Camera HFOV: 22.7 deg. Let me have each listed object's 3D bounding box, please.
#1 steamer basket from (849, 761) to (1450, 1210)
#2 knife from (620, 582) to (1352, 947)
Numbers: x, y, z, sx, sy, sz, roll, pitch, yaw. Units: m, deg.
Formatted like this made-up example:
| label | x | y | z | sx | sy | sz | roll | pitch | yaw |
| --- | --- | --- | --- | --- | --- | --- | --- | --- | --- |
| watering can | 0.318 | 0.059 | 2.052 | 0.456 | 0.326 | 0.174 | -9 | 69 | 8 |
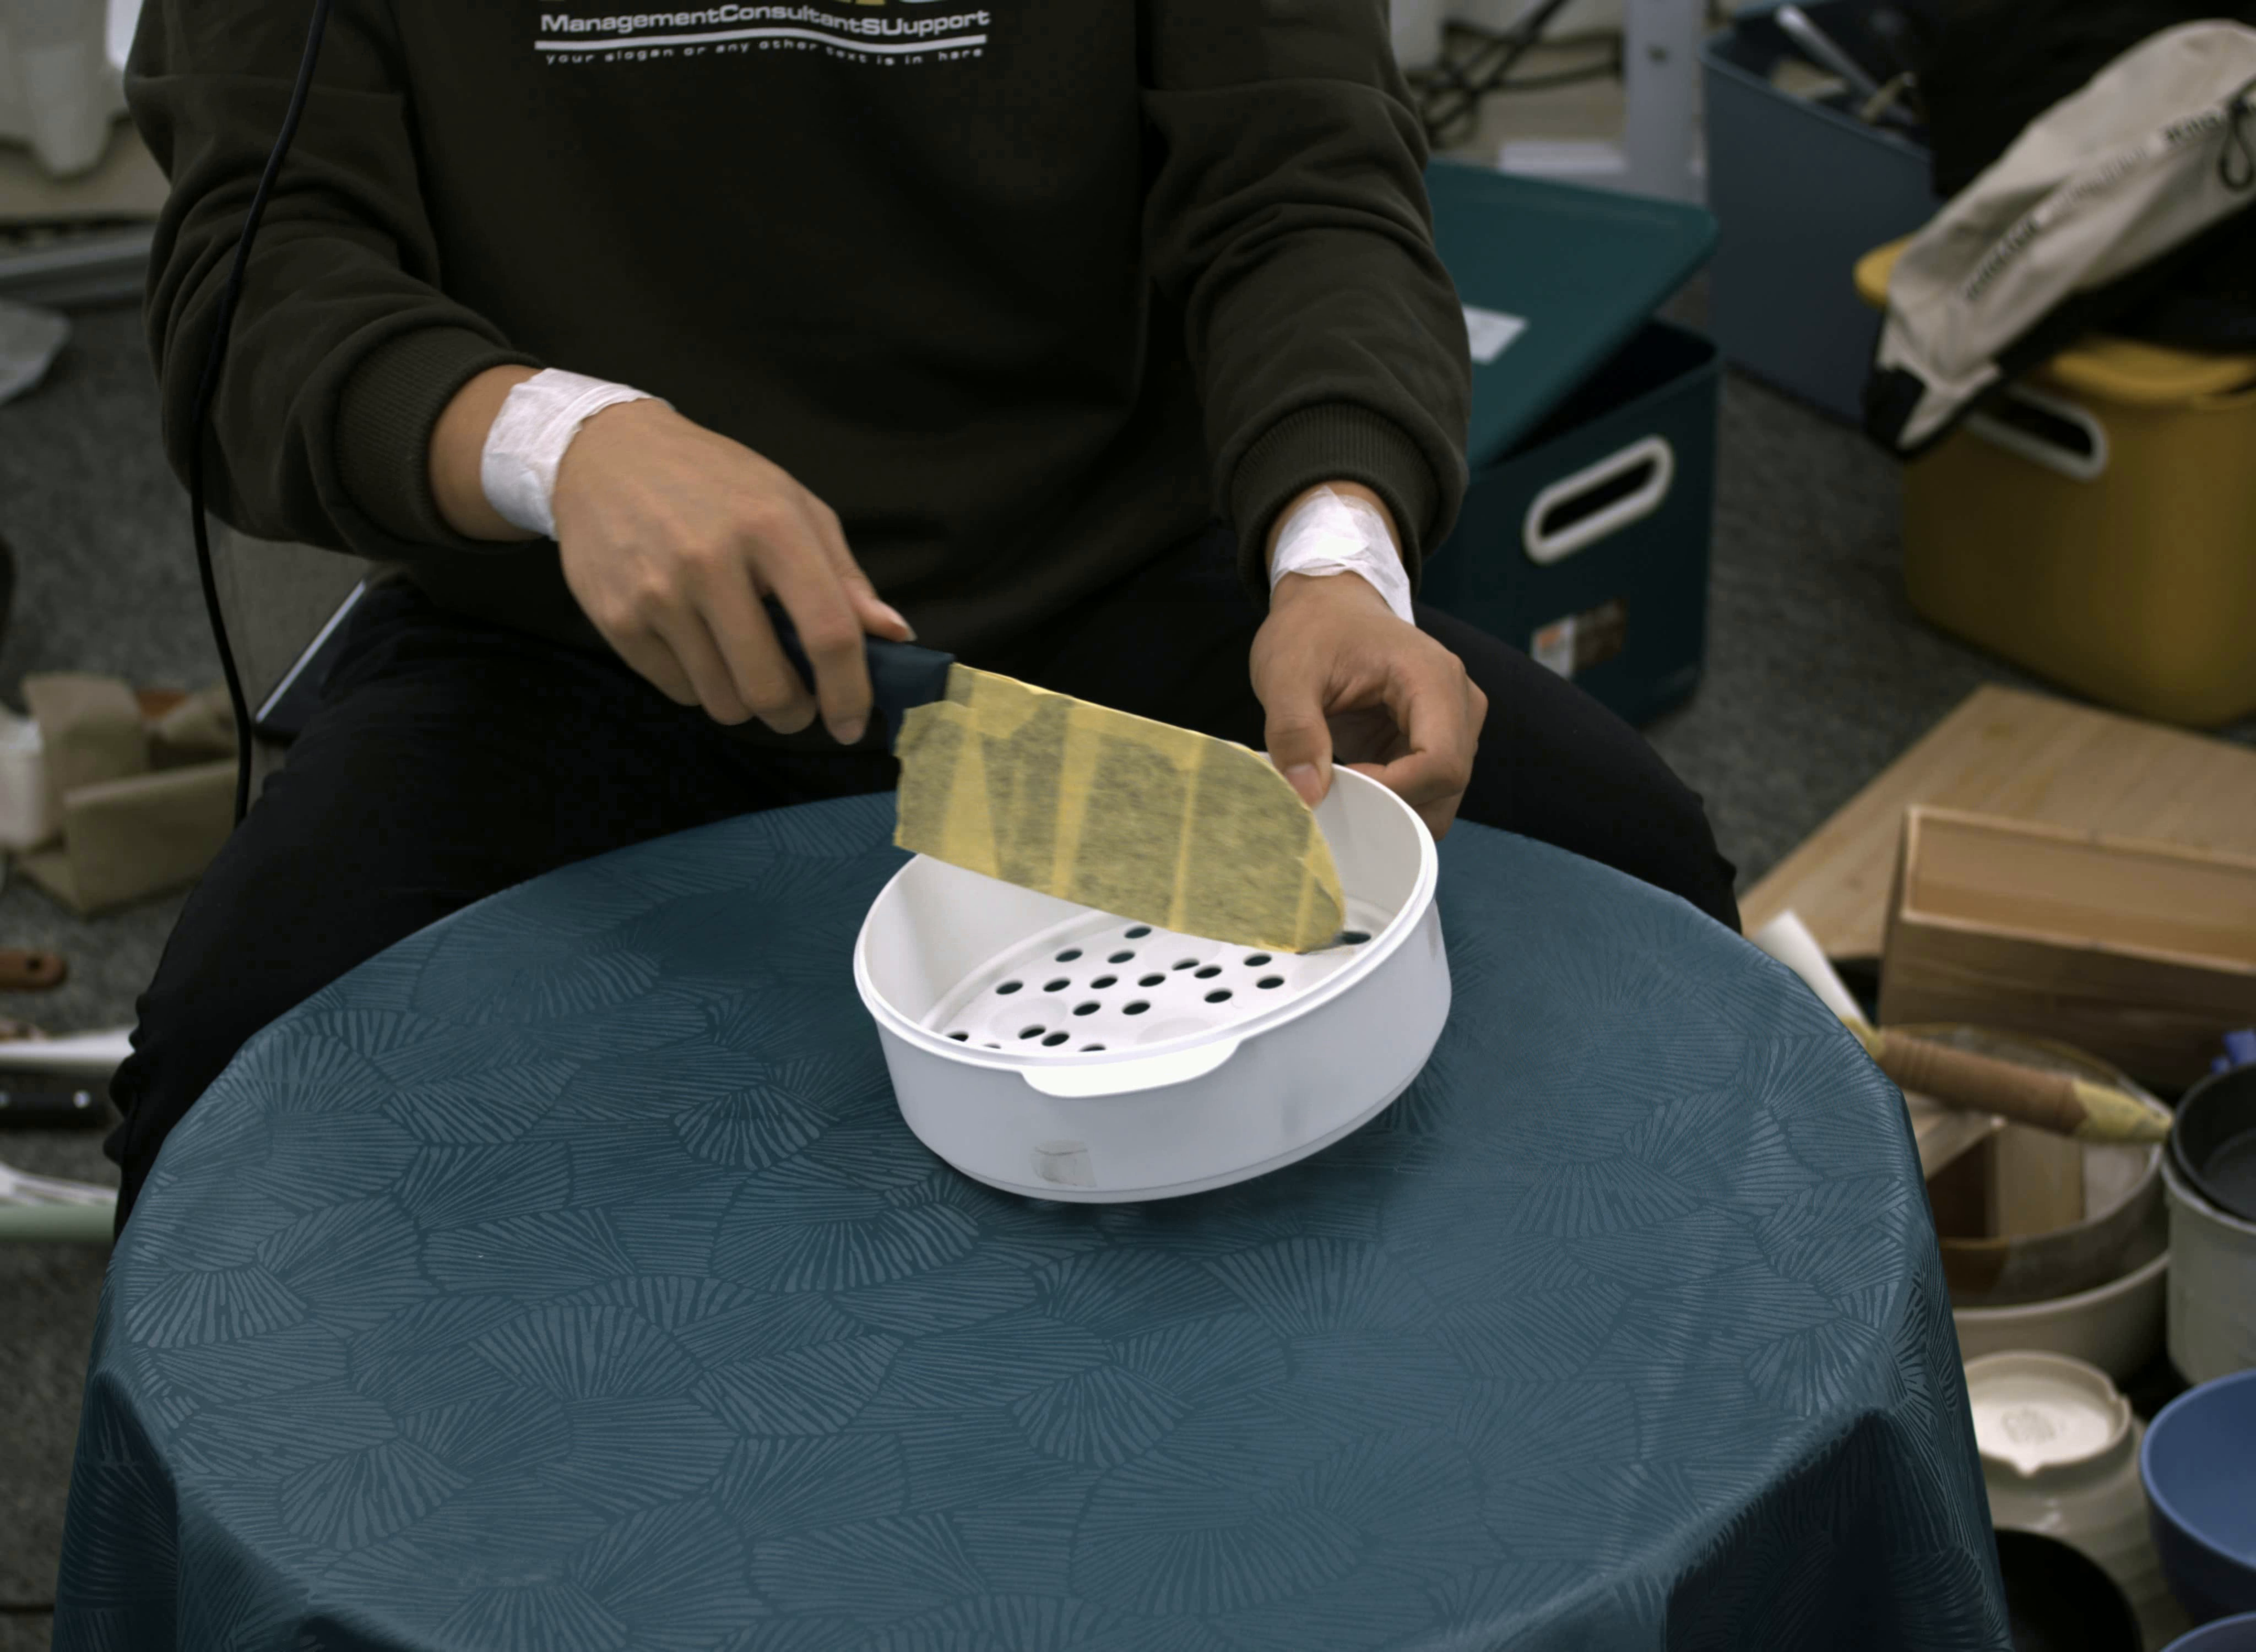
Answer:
| label | x | y | z | sx | sy | sz | roll | pitch | yaw |
| --- | --- | --- | --- | --- | --- | --- | --- | --- | --- |
| steamer basket | 0.010 | 0.055 | 1.899 | 0.200 | 0.068 | 0.234 | -8 | 26 | 8 |
| knife | -0.050 | -0.022 | 1.910 | 0.288 | 0.080 | 0.027 | 21 | 21 | 22 |
